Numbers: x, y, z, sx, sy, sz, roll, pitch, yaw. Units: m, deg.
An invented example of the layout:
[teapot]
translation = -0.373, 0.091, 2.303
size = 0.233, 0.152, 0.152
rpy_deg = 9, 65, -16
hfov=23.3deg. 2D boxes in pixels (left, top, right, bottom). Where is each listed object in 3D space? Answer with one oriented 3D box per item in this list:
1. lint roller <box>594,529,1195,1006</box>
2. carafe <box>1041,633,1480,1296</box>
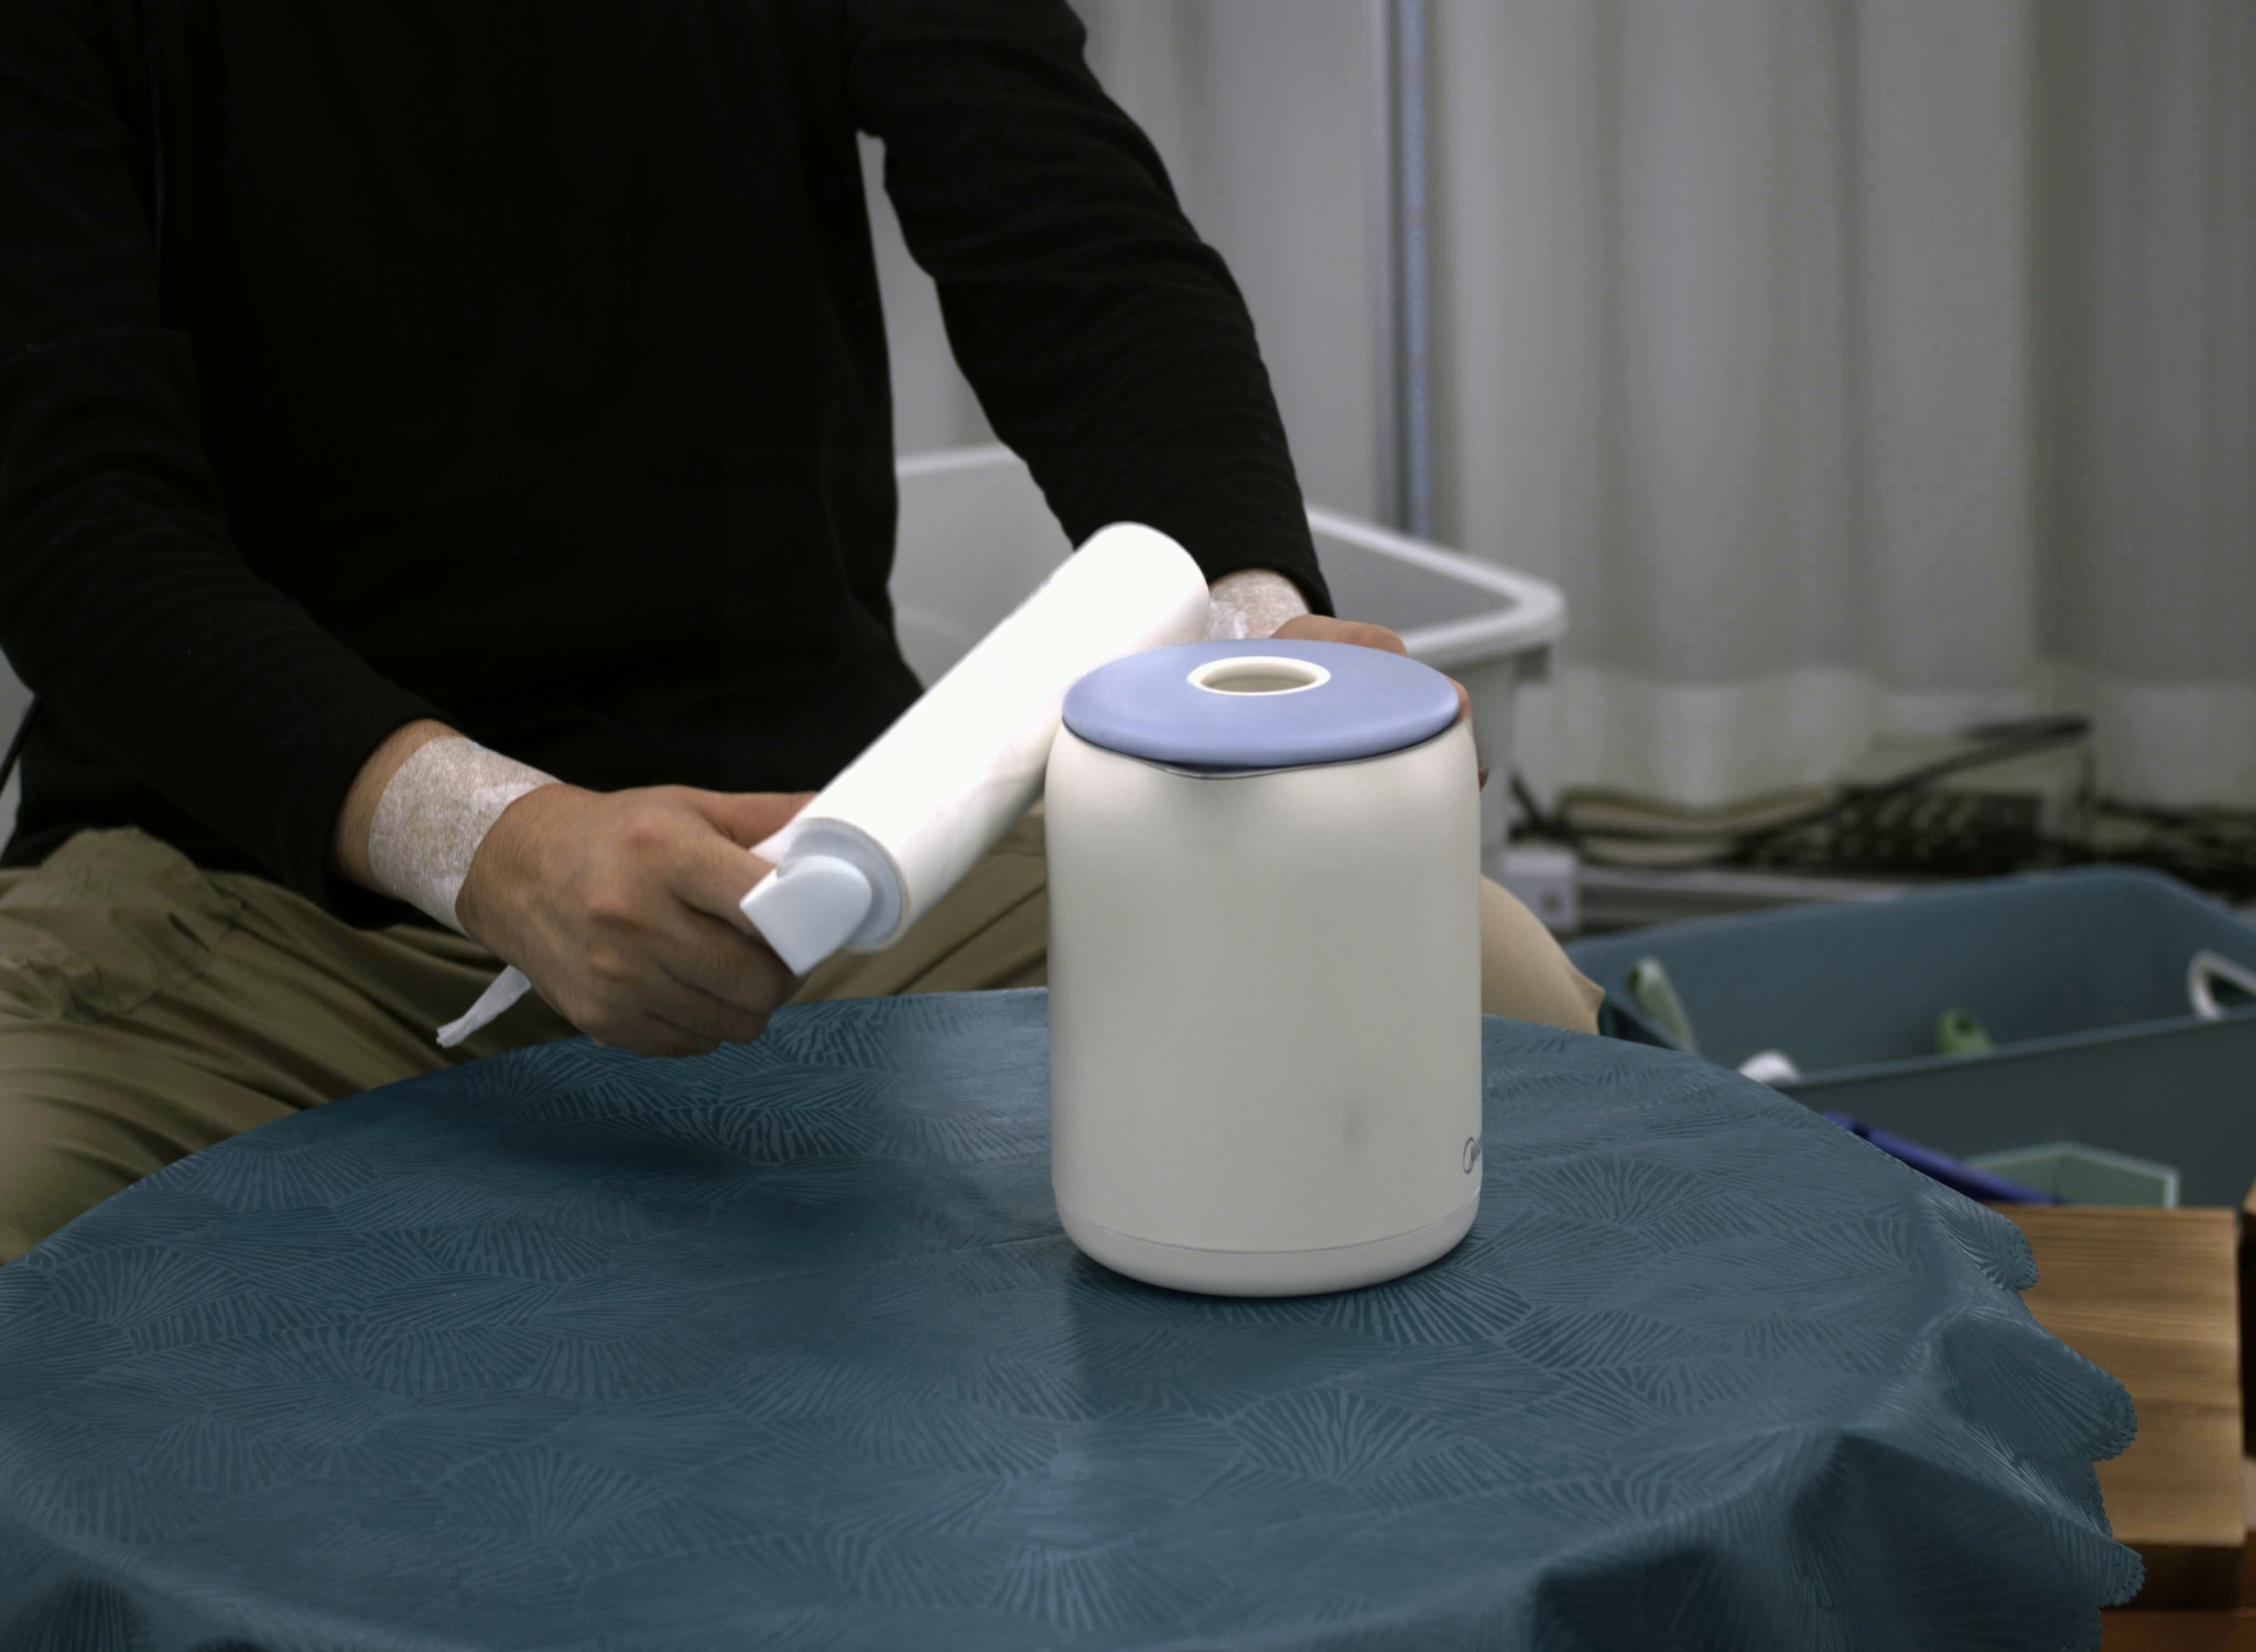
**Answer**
[lint roller]
translation = -0.100, 0.002, 1.719
size = 0.225, 0.048, 0.204
rpy_deg = -27, 13, 40
[carafe]
translation = 0.046, 0.034, 1.666
size = 0.132, 0.182, 0.192
rpy_deg = 3, 15, 13
